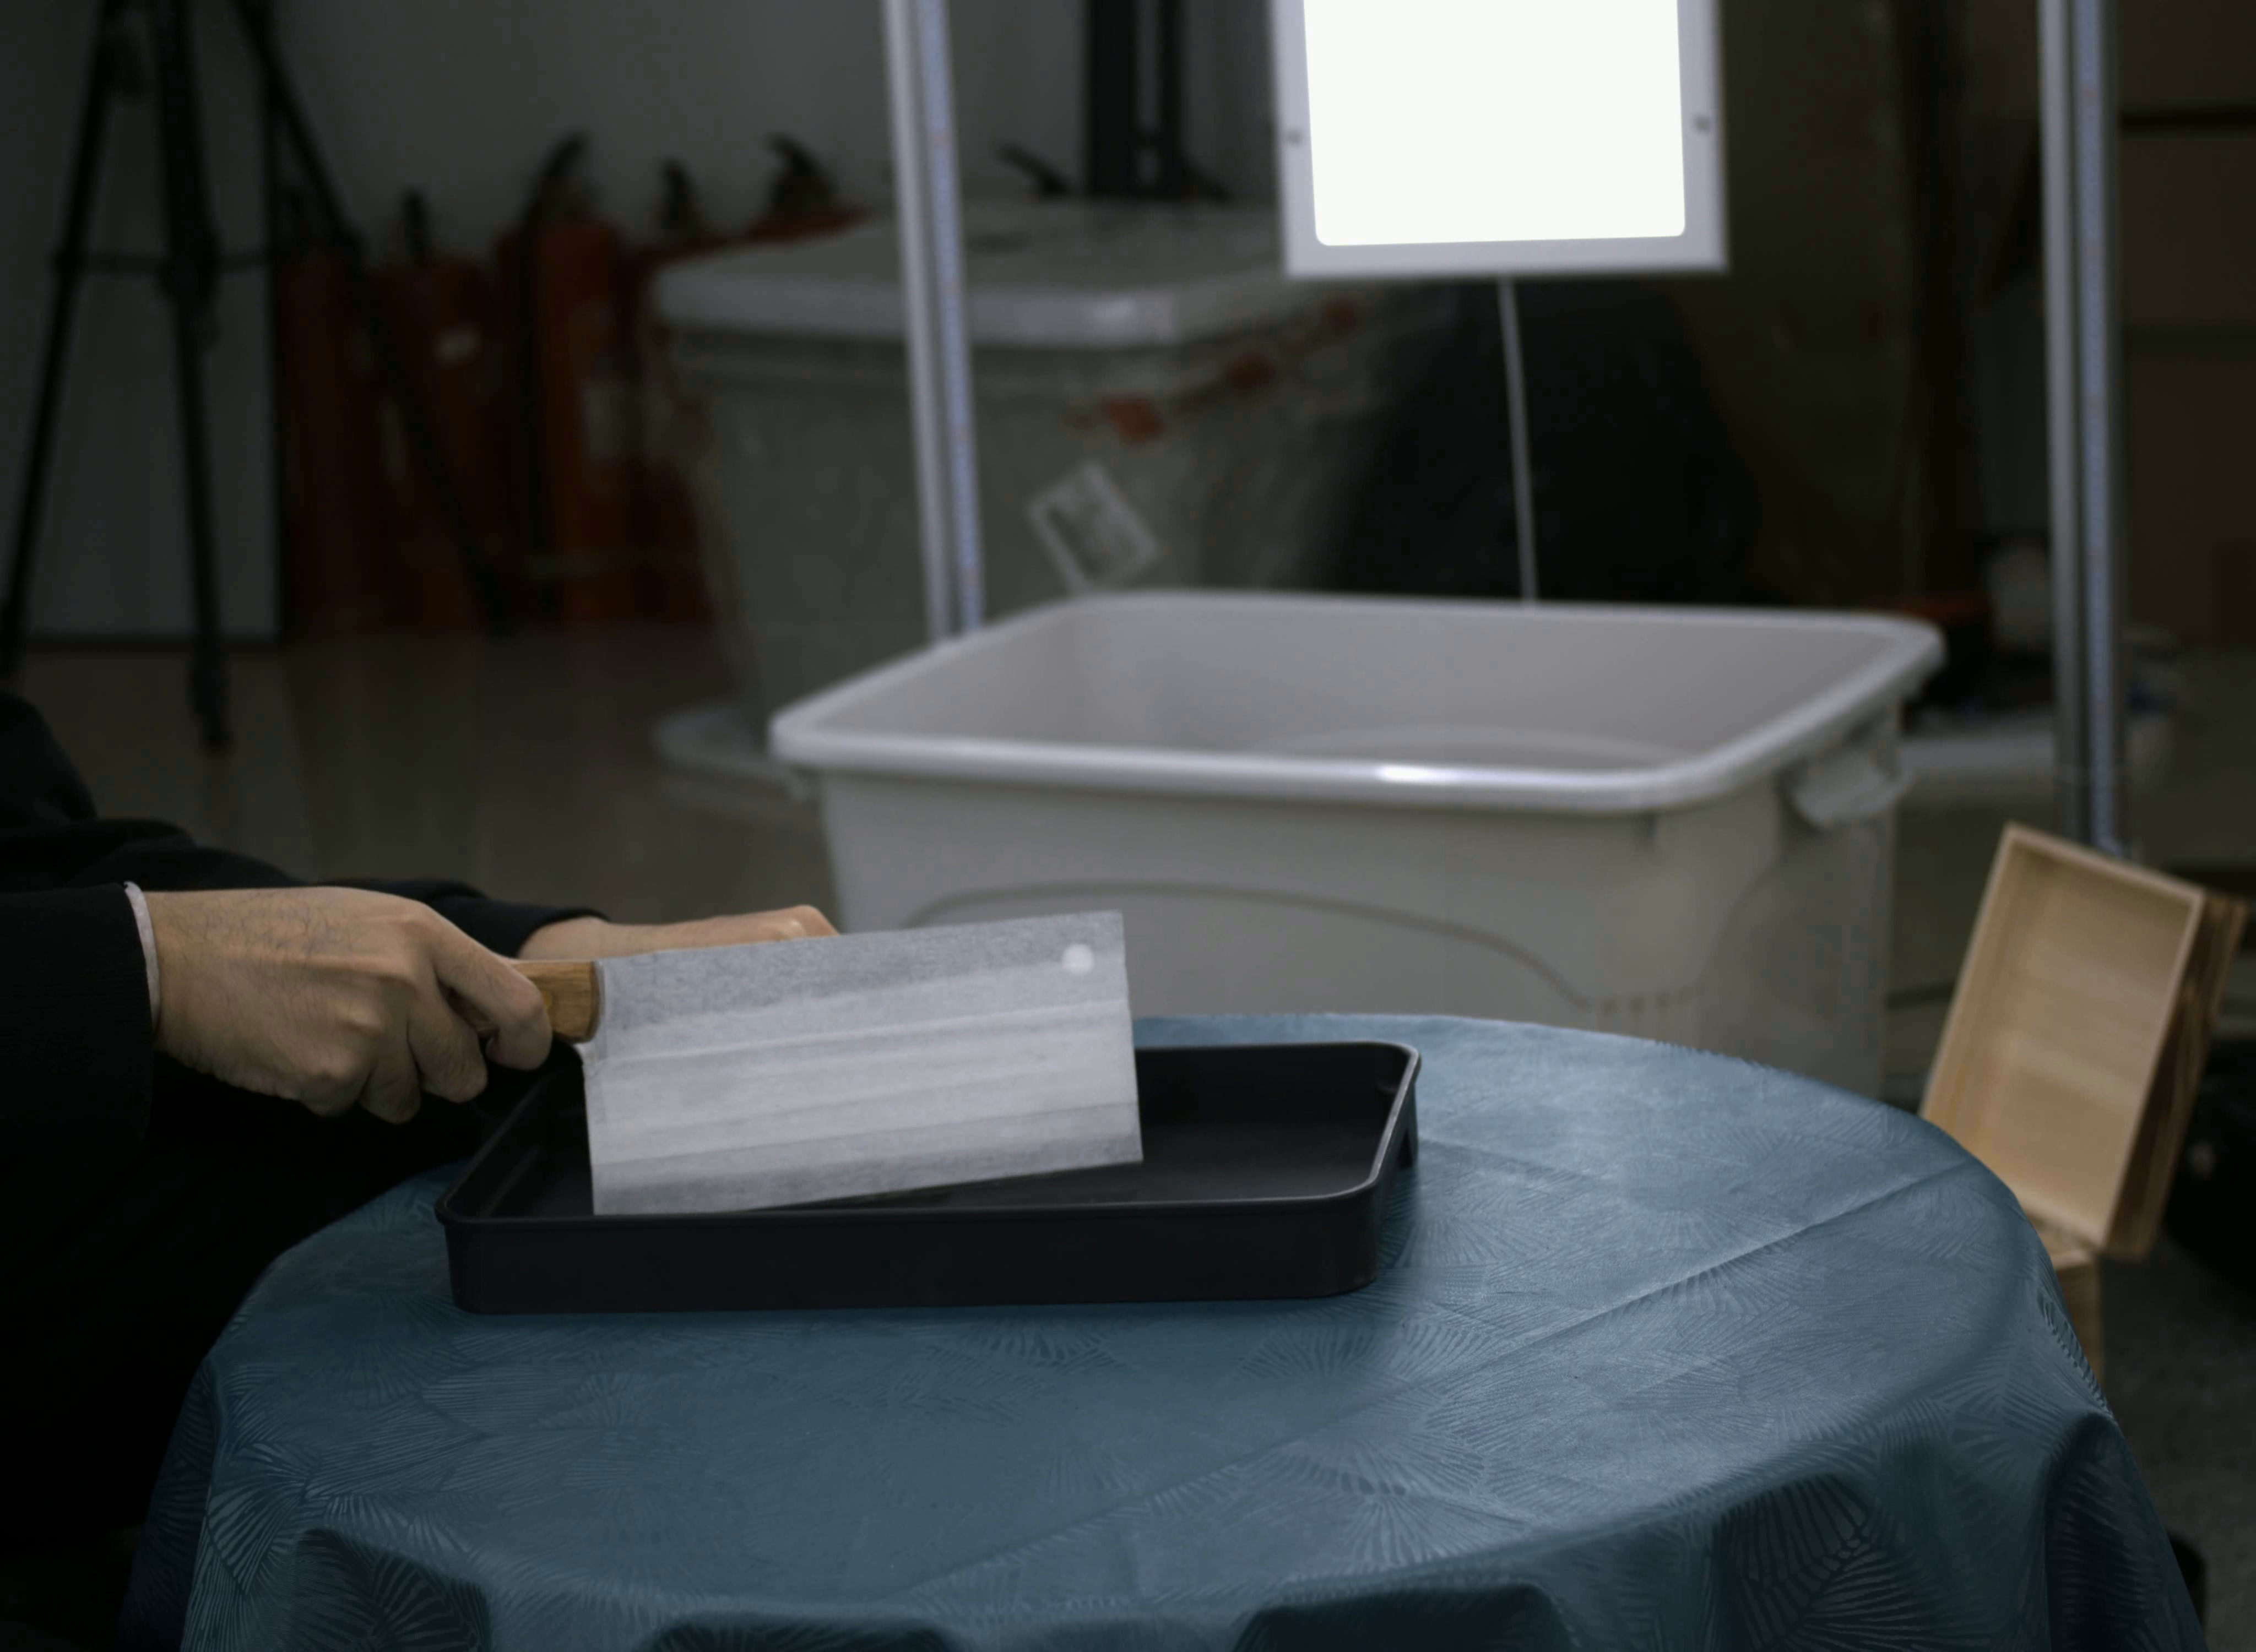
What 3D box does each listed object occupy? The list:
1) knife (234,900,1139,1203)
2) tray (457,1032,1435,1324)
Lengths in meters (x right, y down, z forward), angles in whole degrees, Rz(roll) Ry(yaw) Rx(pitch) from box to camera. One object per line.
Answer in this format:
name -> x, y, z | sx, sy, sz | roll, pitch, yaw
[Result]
knife -> -0.149, 0.084, 1.882 | 0.304, 0.093, 0.021 | -6, 4, -2
tray -> -0.057, 0.118, 1.877 | 0.320, 0.037, 0.182 | -3, 14, 10
